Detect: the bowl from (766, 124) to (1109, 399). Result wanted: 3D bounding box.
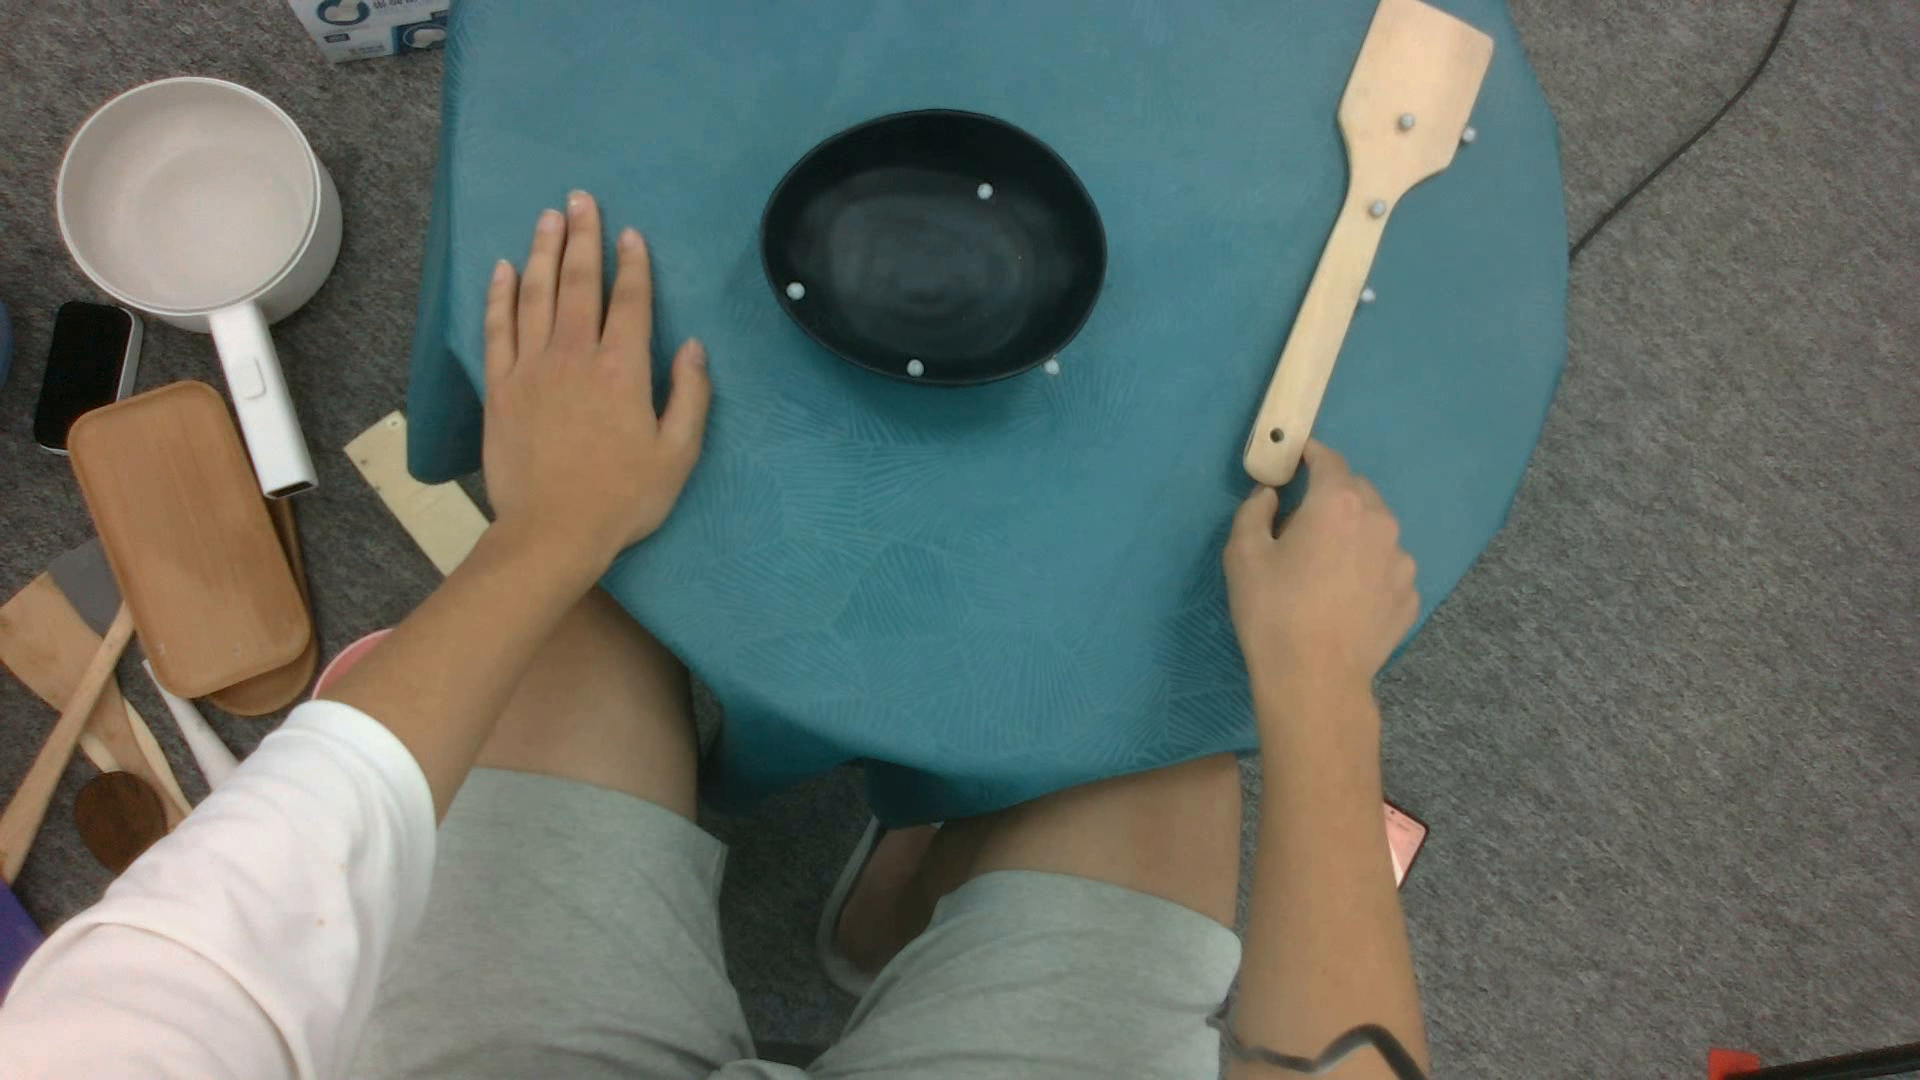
[{"bbox_3d":[-0.012,-0.134,0.702,0.170,0.066,0.137,0,83,-5],"label":"bowl"}]

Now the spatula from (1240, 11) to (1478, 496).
[{"bbox_3d":[0.213,-0.157,0.756,0.072,0.010,0.293,23,77,-4],"label":"spatula"}]
